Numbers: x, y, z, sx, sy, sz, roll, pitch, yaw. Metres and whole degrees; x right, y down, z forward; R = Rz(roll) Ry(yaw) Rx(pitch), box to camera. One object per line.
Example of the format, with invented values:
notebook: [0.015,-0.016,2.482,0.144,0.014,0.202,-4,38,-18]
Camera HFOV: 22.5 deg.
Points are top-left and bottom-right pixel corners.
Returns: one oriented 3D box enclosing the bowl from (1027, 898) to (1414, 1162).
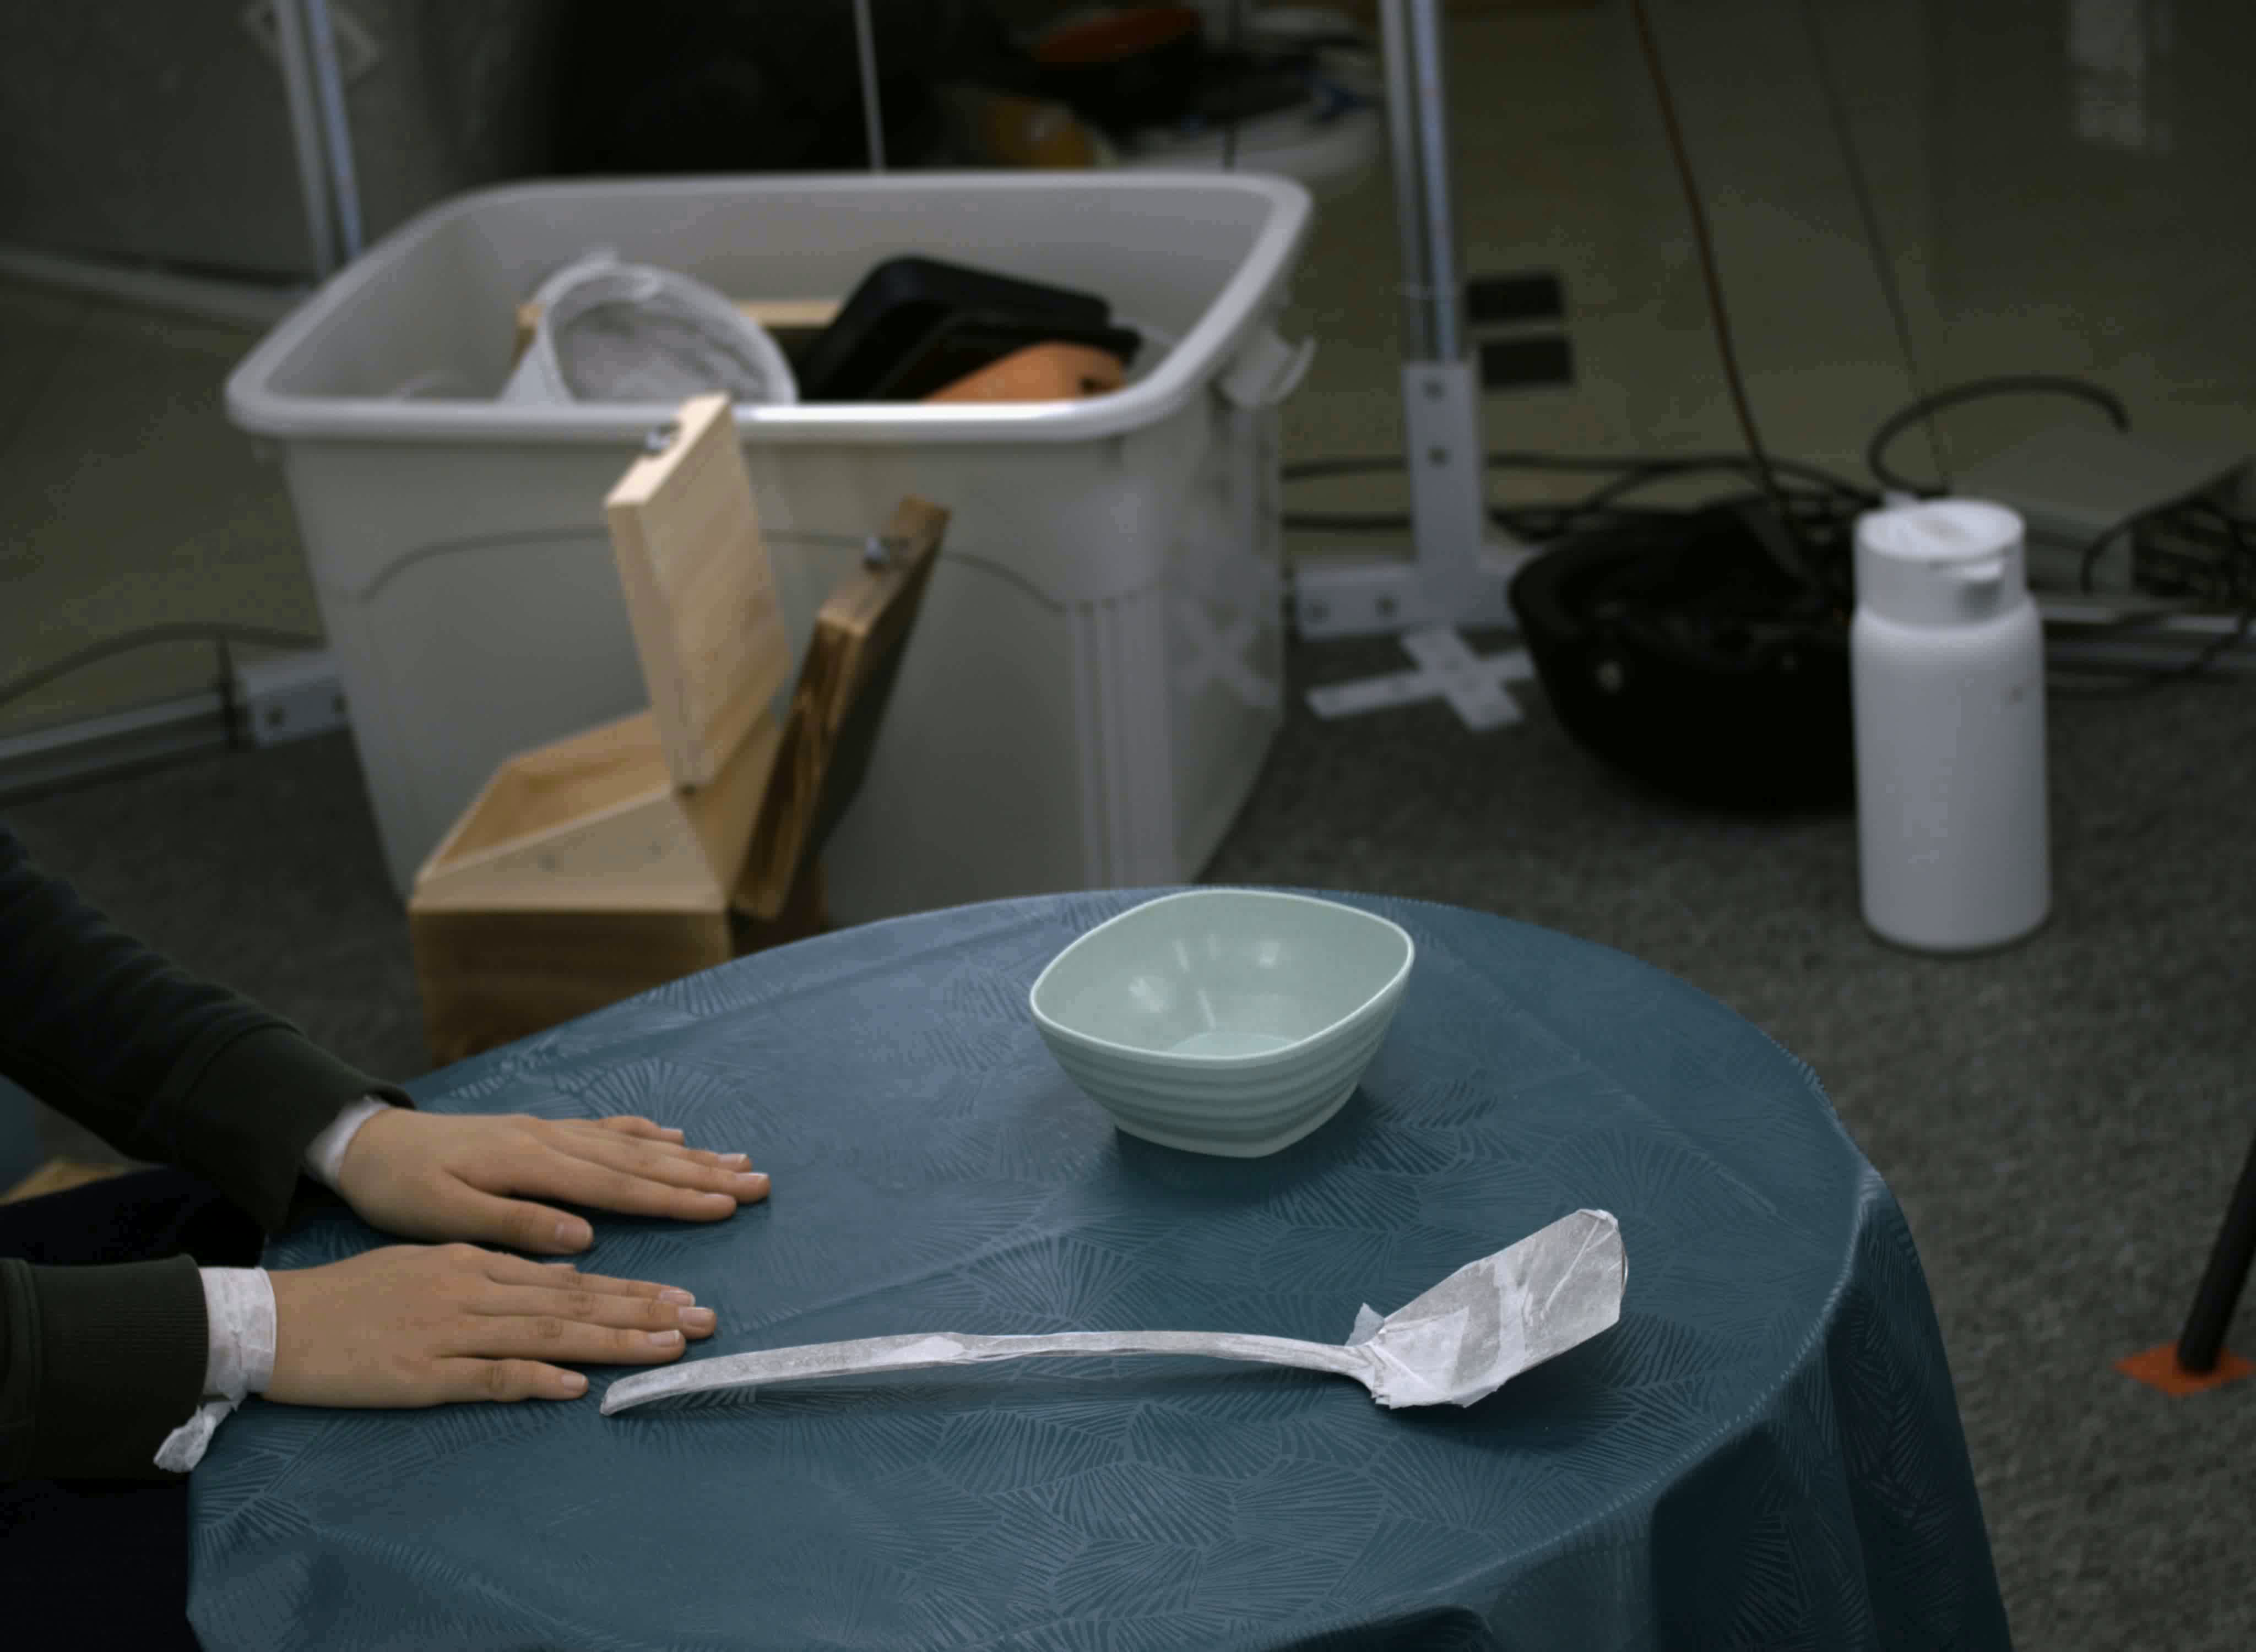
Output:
bowl: [0.037,0.084,2.196,0.151,0.059,0.149,-3,24,1]

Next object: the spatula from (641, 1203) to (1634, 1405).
spatula: [-0.001,0.179,2.020,0.364,0.045,0.097,-2,27,8]
